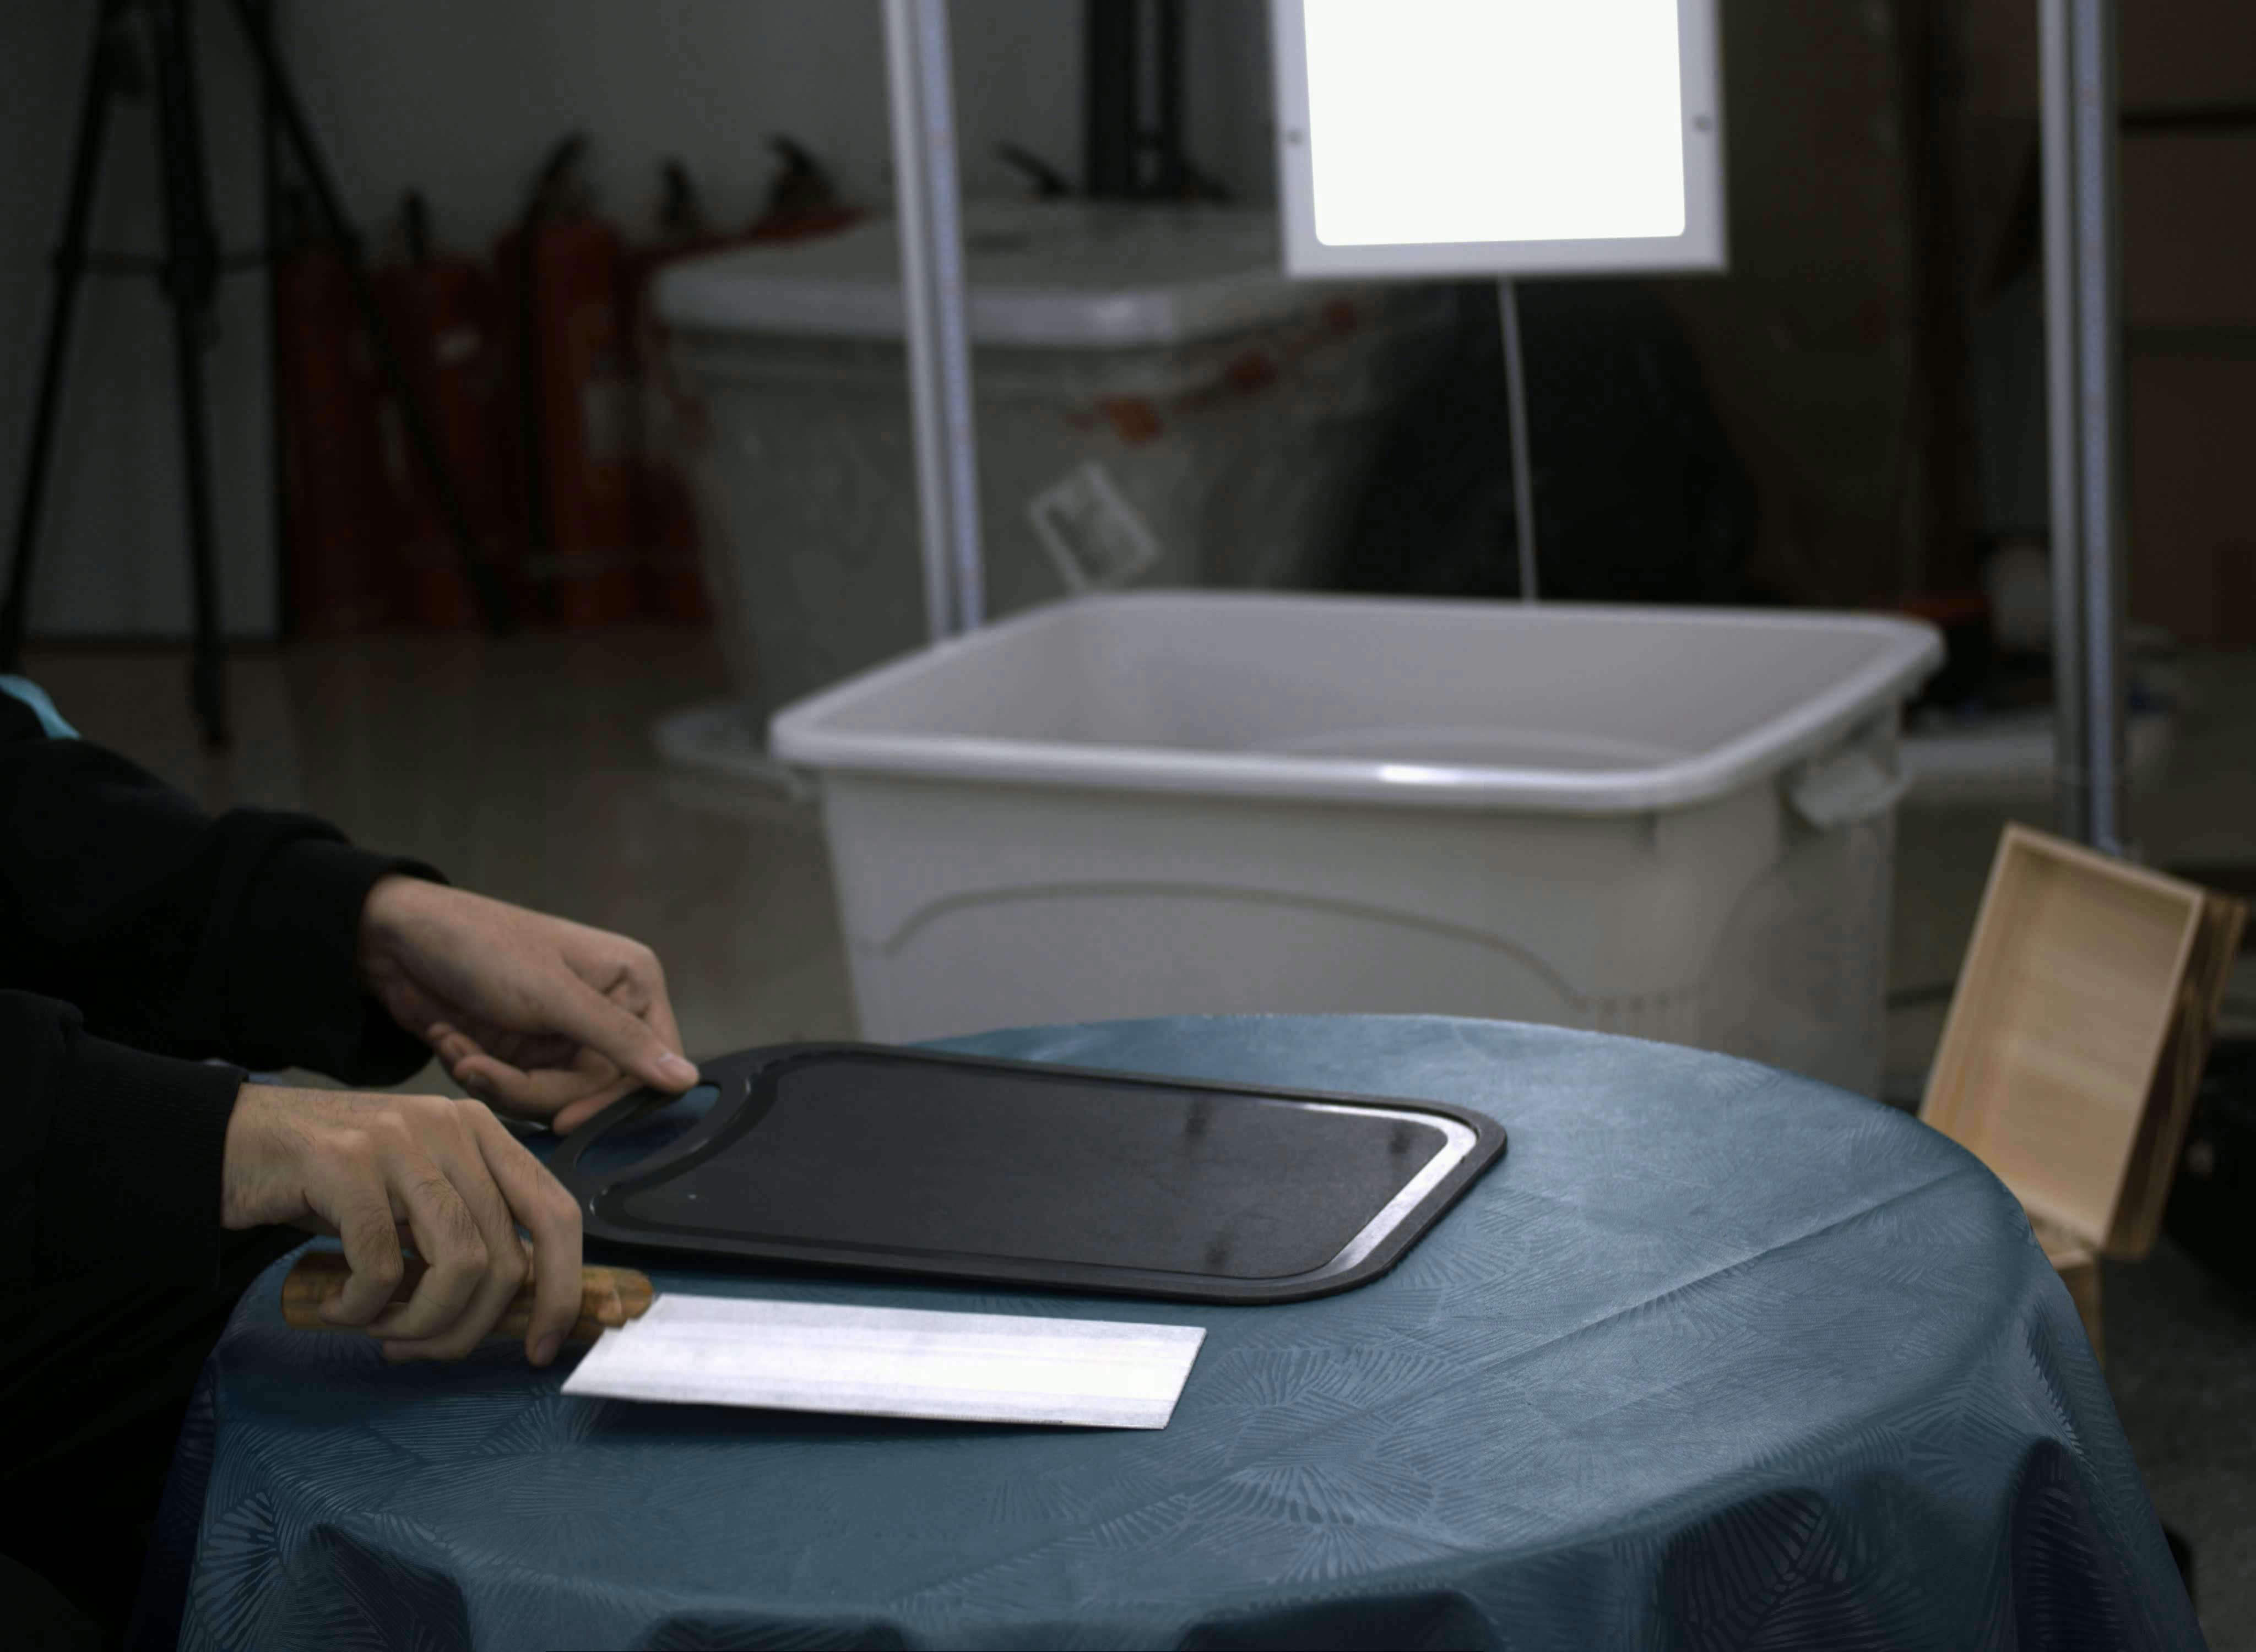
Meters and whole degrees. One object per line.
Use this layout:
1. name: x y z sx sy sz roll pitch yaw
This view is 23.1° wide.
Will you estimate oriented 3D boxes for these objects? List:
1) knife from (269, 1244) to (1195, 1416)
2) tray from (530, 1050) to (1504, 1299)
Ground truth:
1. knife: -0.131 0.162 1.738 0.307 0.021 0.092 3 16 11
2. tray: -0.044 0.117 1.909 0.330 0.010 0.207 4 17 23
